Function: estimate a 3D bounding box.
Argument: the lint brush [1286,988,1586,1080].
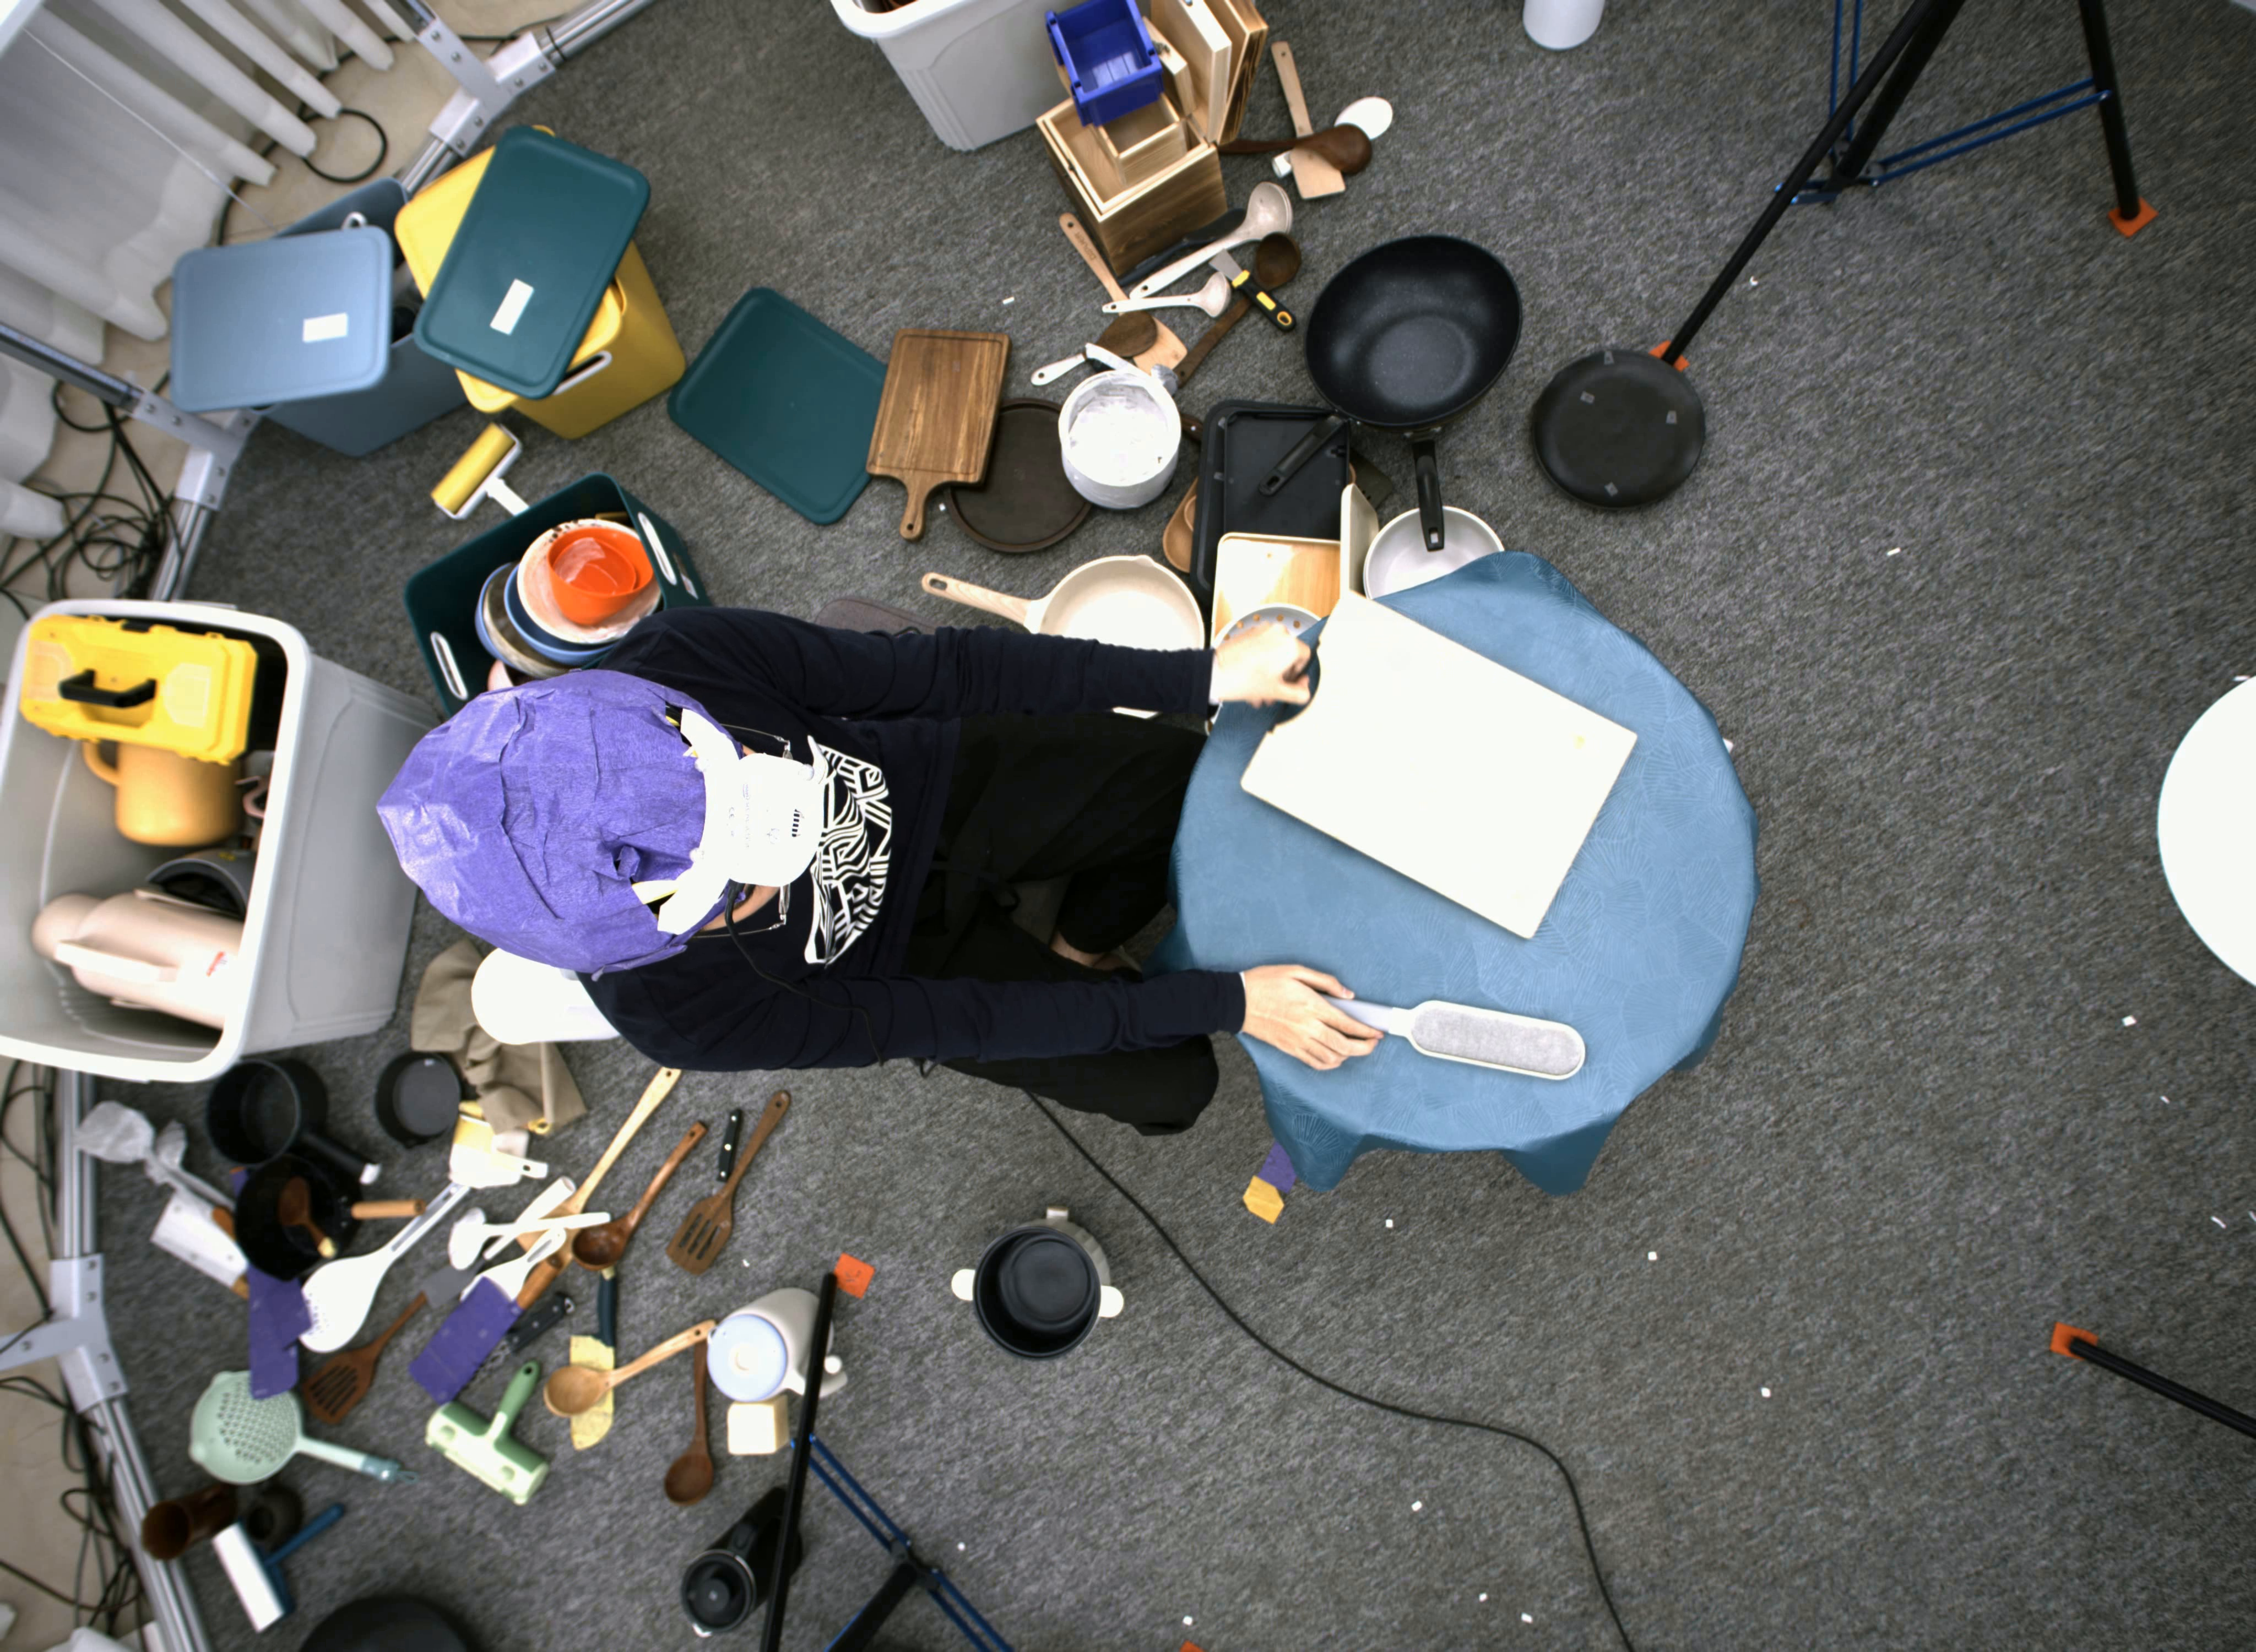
[{"bbox_3d":[0.316,0.205,1.429,0.309,0.021,0.060,10,92,11],"label":"lint brush"}]

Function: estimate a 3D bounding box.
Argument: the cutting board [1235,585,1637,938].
[{"bbox_3d":[0.320,-0.071,1.442,0.348,0.023,0.251,27,92,8],"label":"cutting board"}]
